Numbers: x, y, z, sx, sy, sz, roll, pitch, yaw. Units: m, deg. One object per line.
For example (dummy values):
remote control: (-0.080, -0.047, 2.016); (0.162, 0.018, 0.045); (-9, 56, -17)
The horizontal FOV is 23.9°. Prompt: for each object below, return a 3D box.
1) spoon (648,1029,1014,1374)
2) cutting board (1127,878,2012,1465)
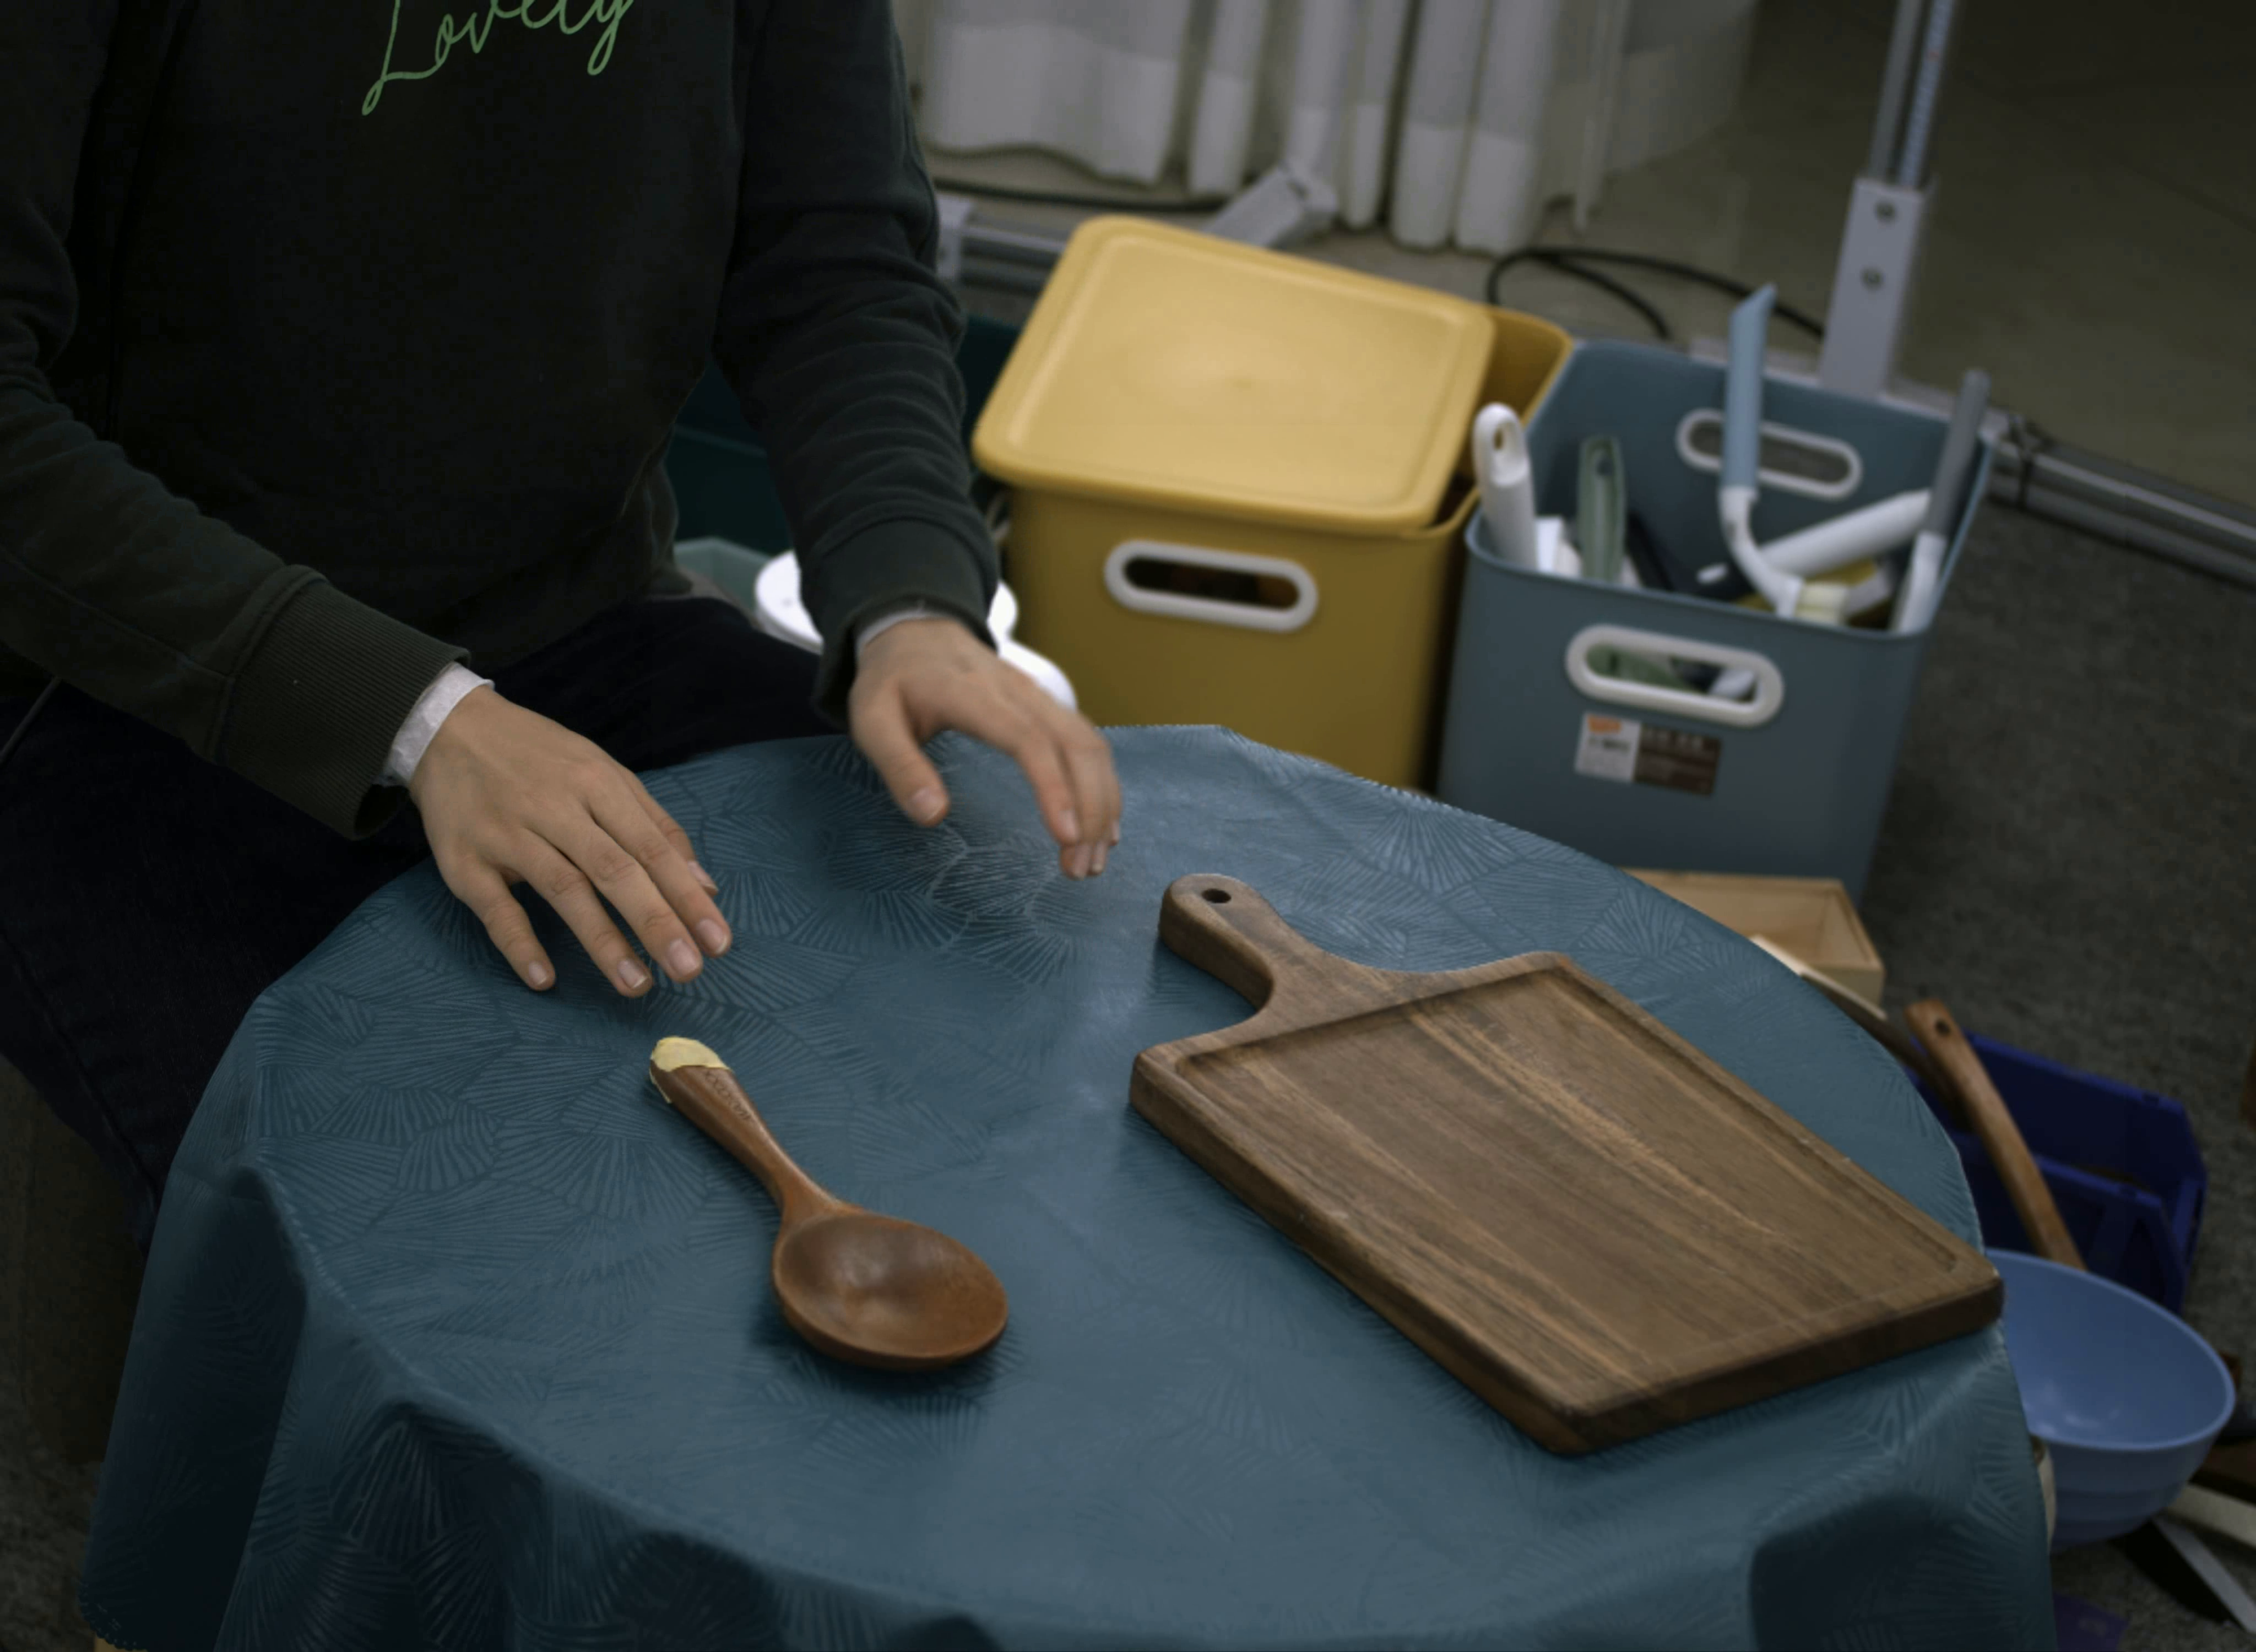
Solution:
spoon: (-0.106, 0.124, 1.755); (0.075, 0.017, 0.218); (-10, 32, -27)
cutting board: (0.120, 0.103, 1.849); (0.200, 0.023, 0.355); (-13, 32, -32)
